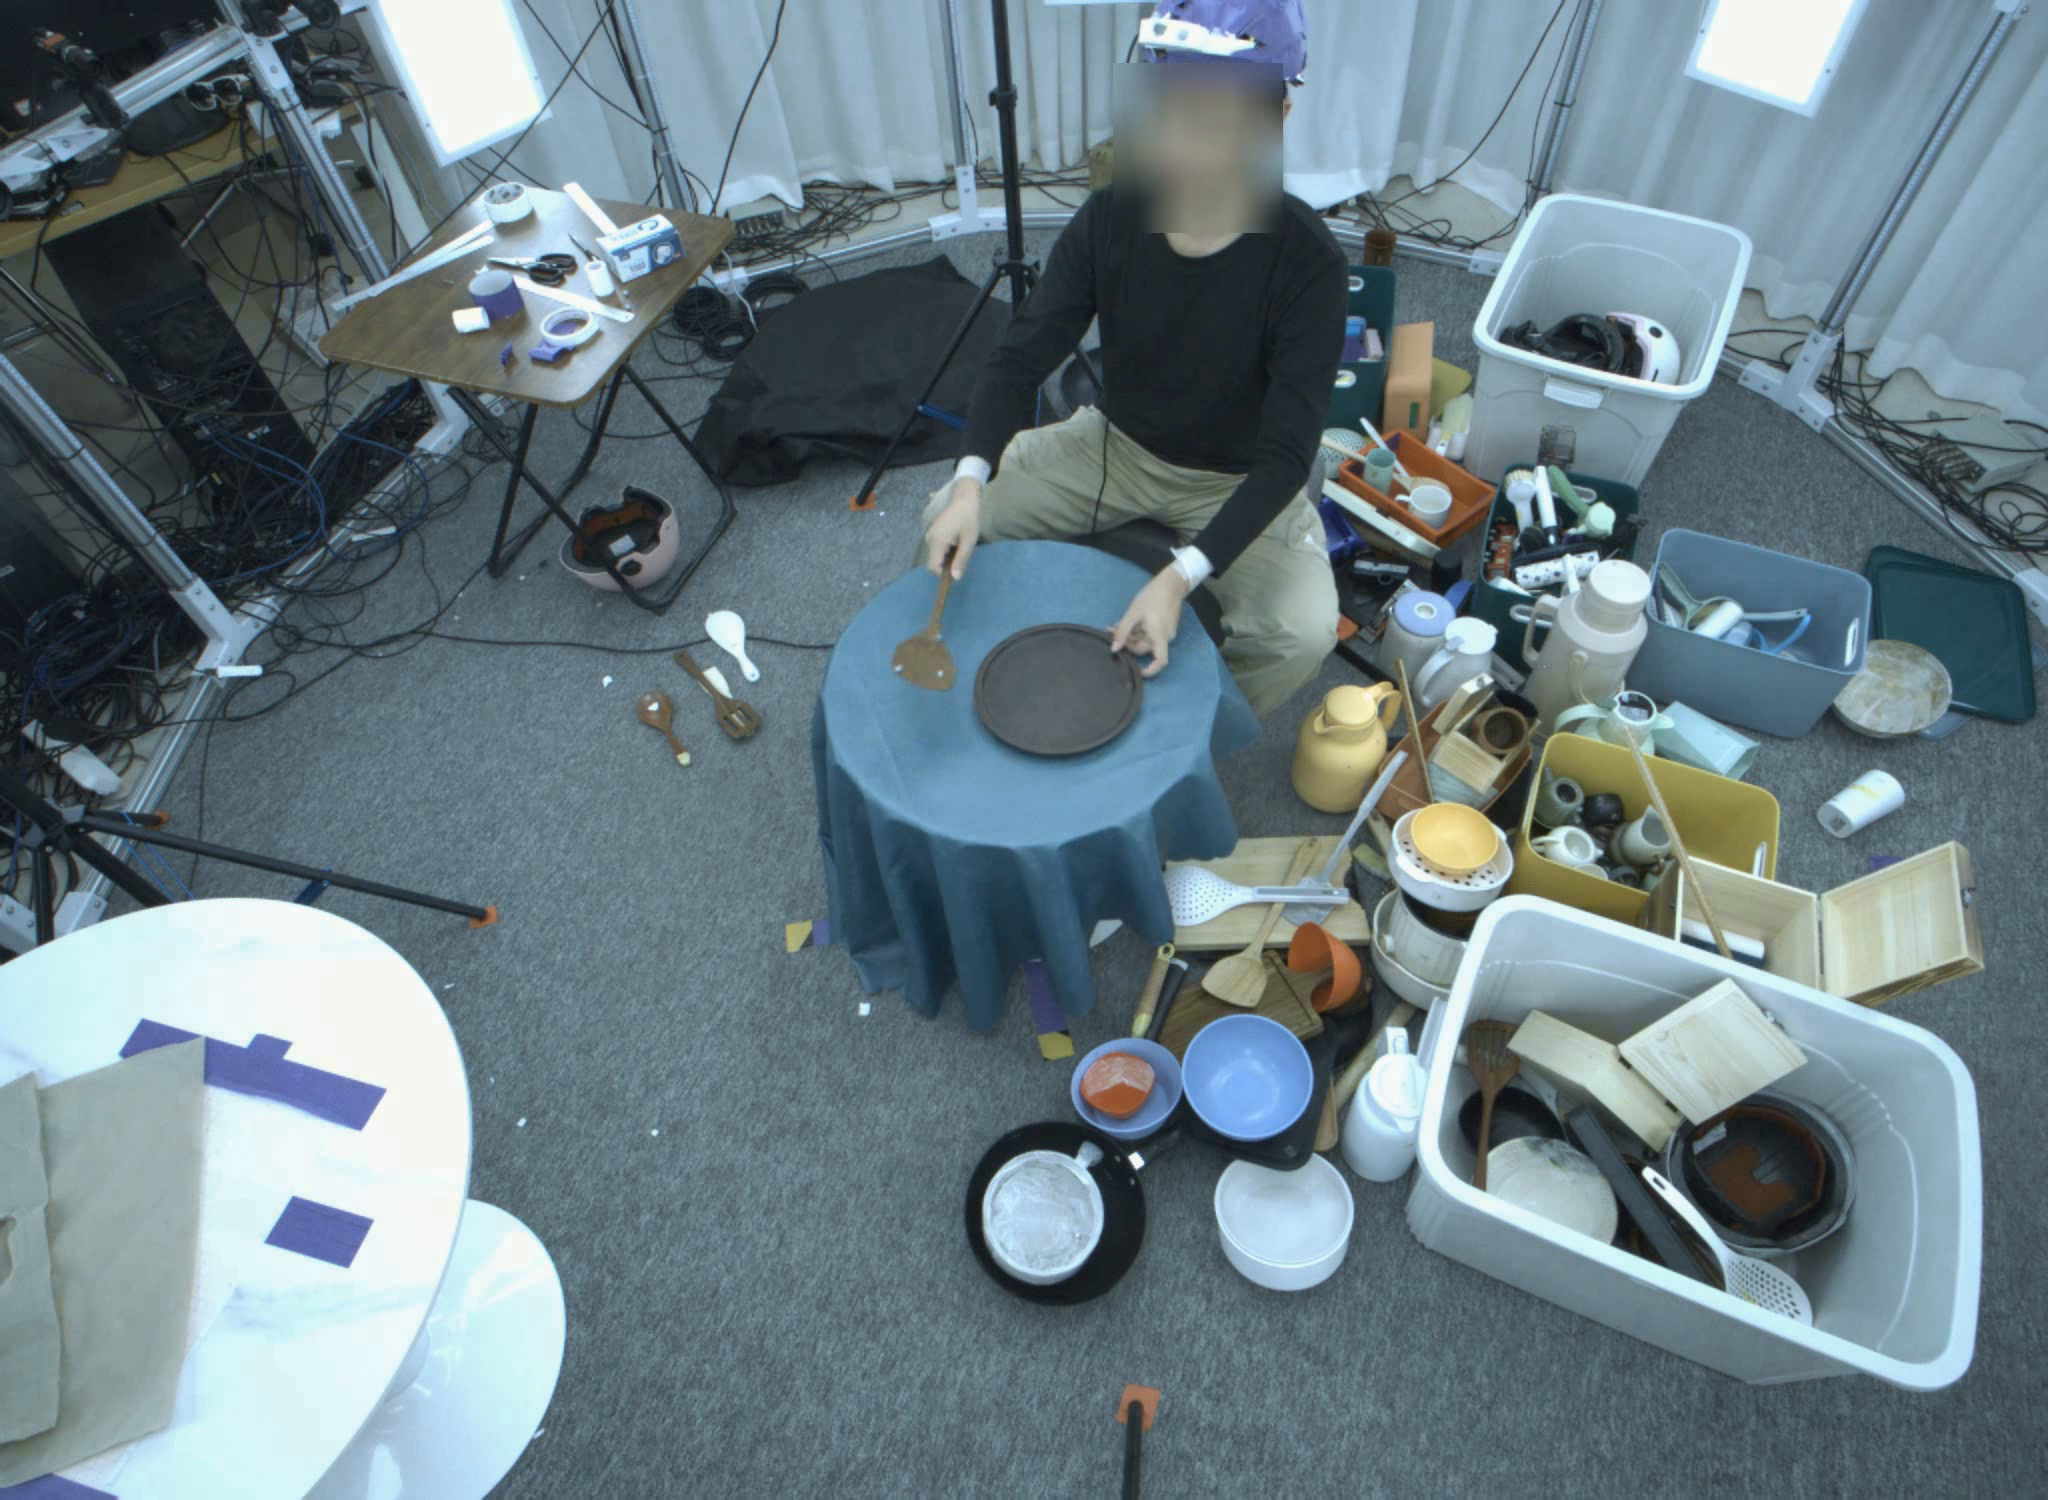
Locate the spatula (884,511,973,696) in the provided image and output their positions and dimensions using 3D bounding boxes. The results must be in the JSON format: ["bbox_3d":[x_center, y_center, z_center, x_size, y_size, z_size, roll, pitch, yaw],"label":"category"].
[{"bbox_3d":[-0.126,-0.232,1.836,0.097,0.016,0.383,19,53,-9],"label":"spatula"}]

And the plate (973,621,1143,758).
[{"bbox_3d":[0.051,-0.091,1.837,0.254,0.029,0.252,-1,55,3],"label":"plate"}]
